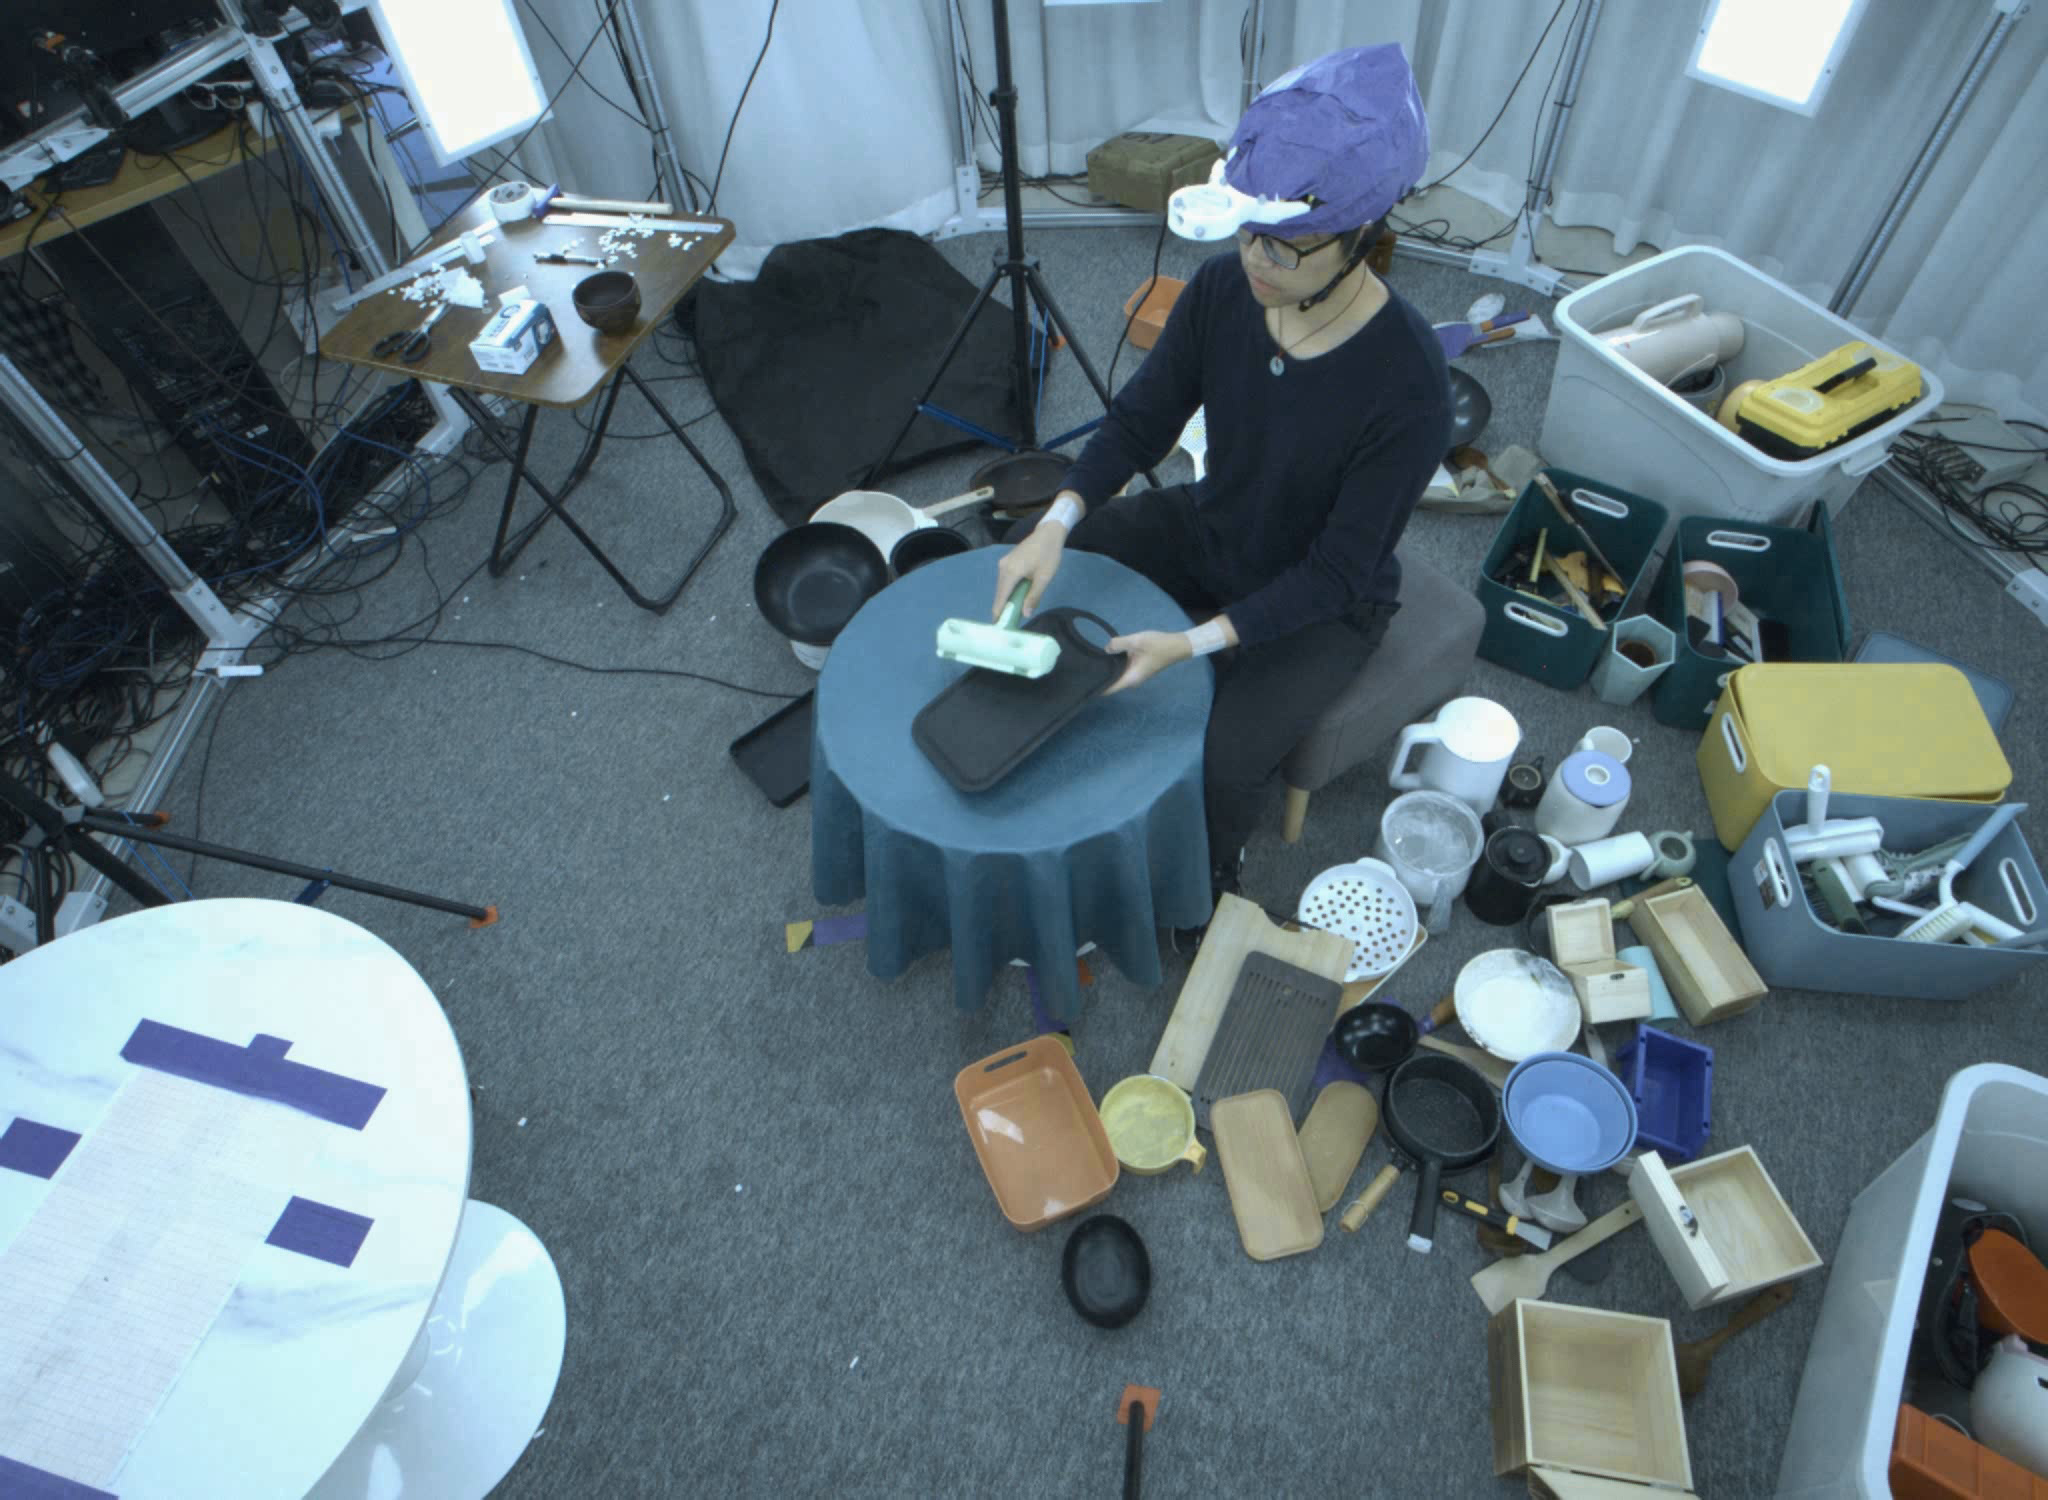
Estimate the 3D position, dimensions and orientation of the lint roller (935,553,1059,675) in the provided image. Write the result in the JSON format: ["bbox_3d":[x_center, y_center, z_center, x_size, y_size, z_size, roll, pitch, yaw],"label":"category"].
[{"bbox_3d":[-0.031,-0.208,1.769,0.194,0.084,0.183,14,87,34],"label":"lint roller"}]

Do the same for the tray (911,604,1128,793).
[{"bbox_3d":[-0.005,-0.086,1.772,0.326,0.010,0.206,-39,50,-6],"label":"tray"}]
